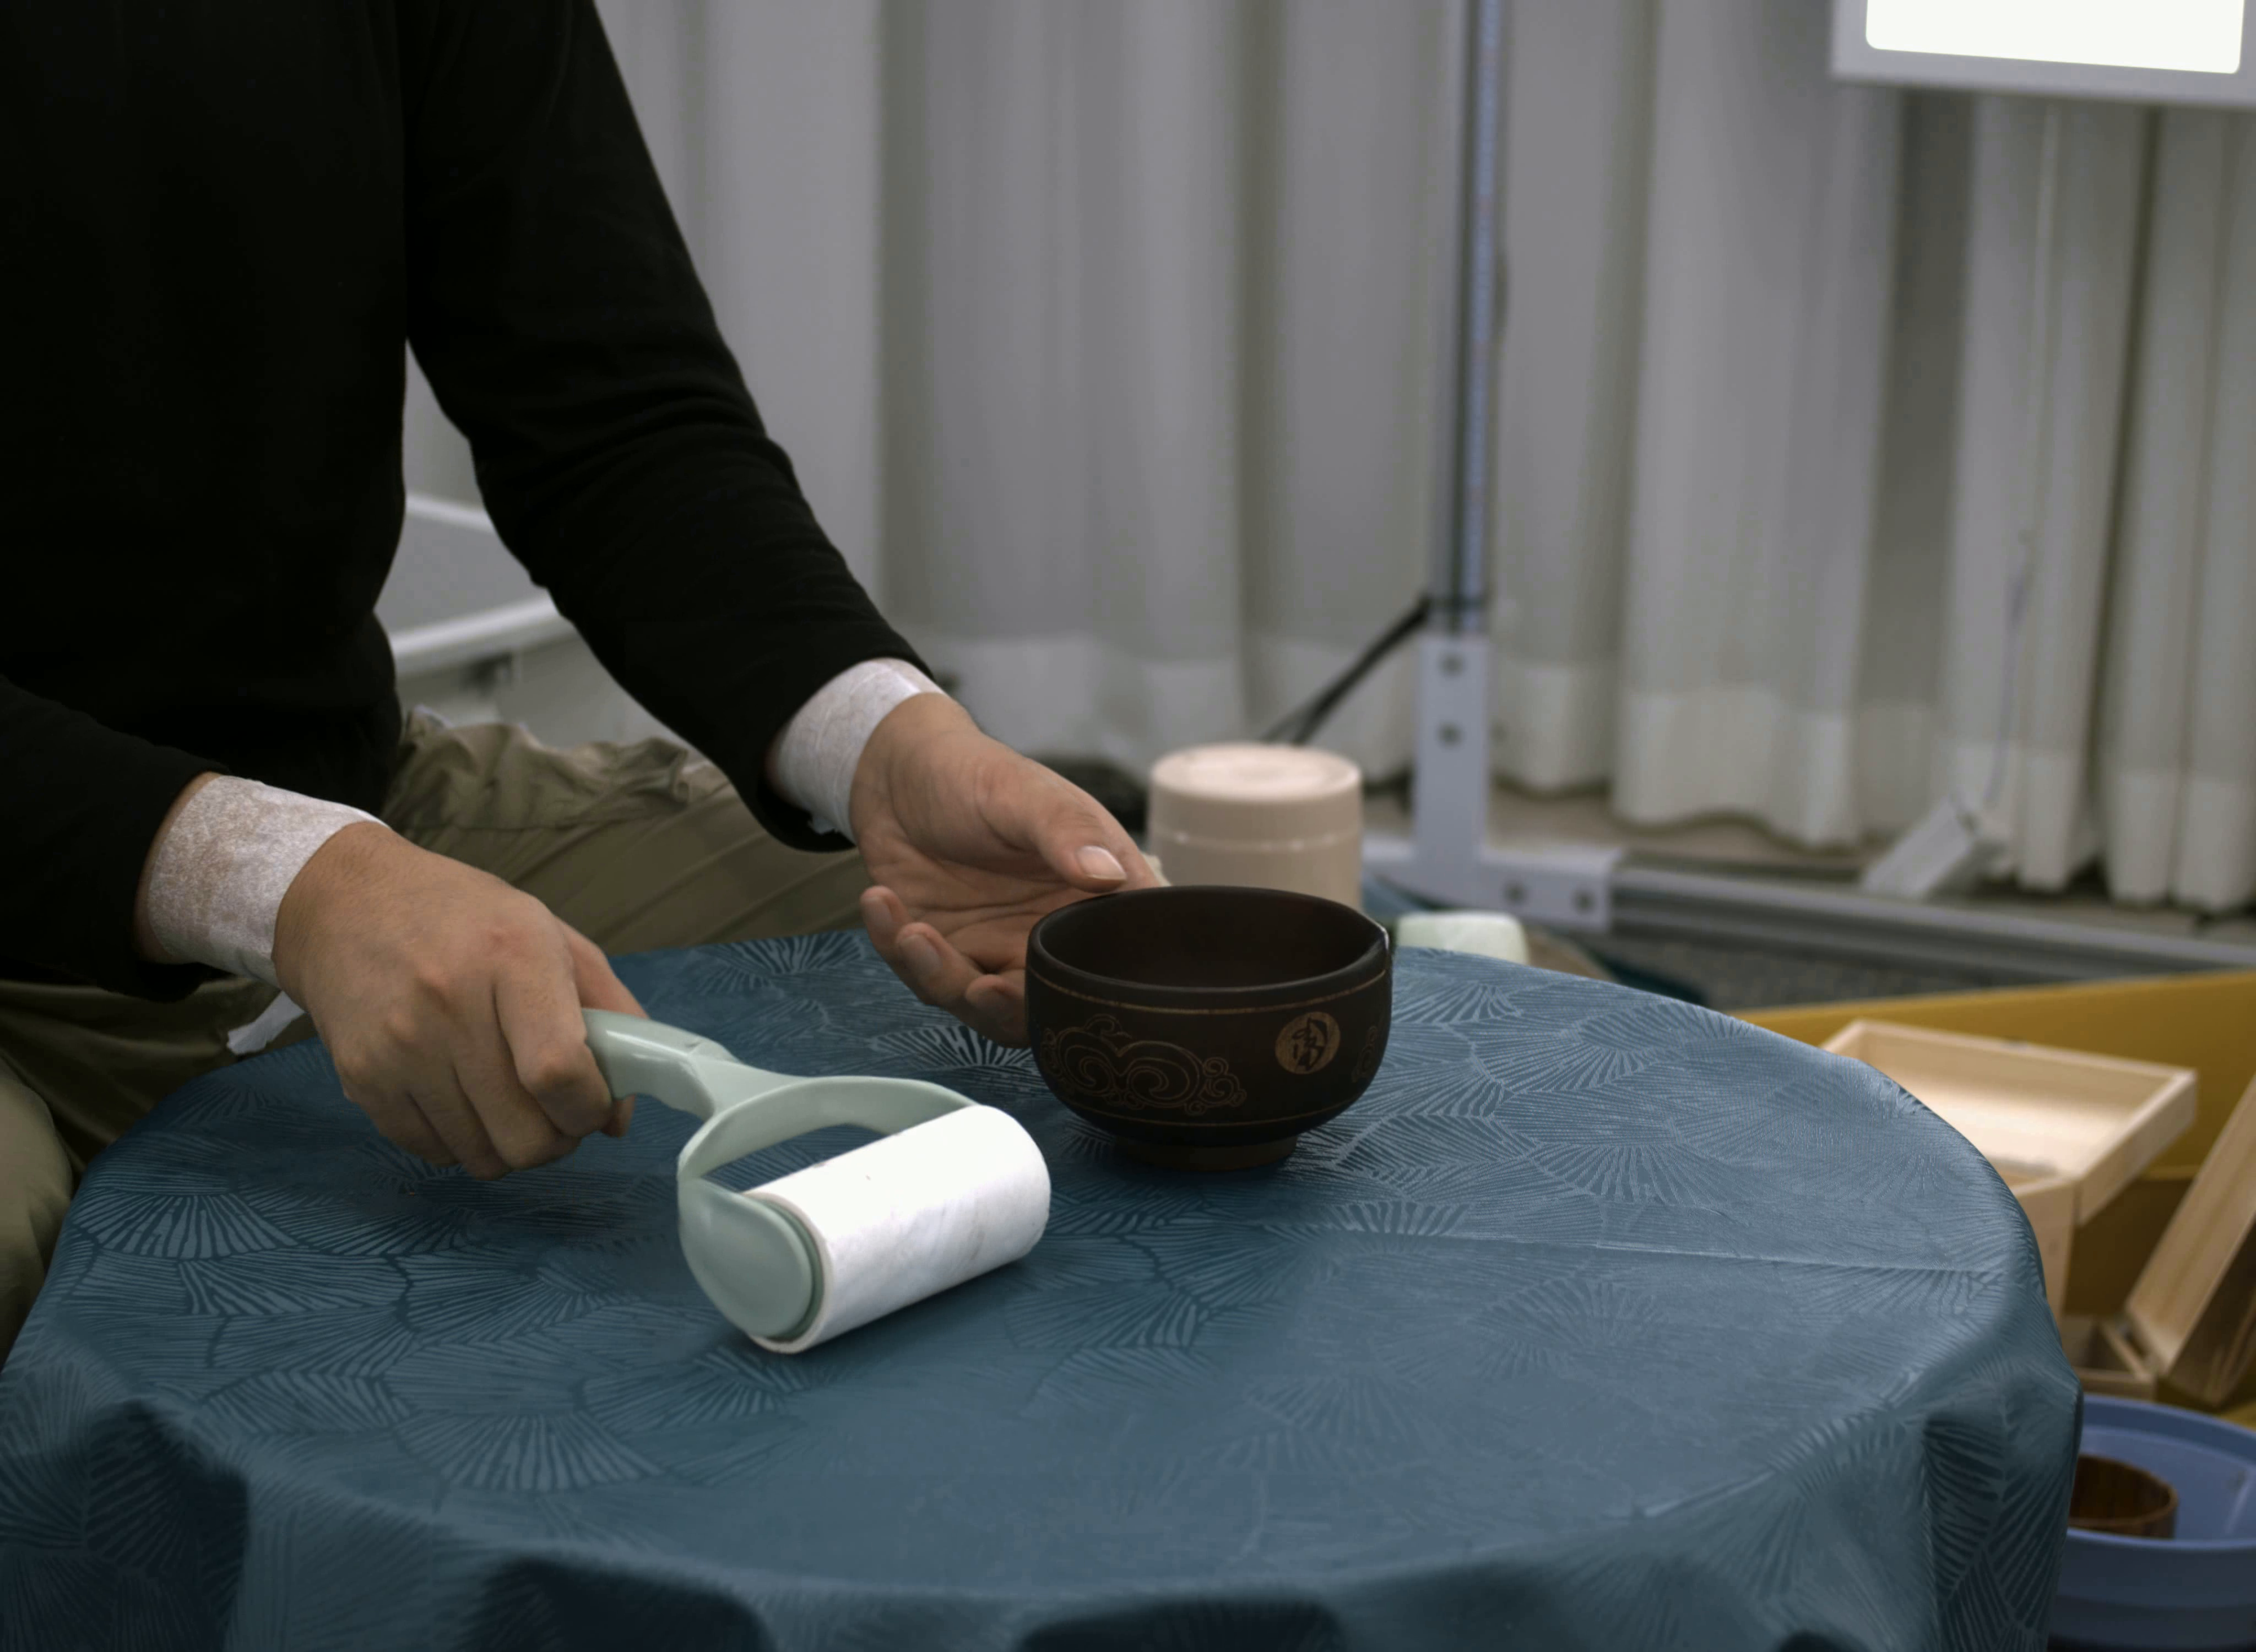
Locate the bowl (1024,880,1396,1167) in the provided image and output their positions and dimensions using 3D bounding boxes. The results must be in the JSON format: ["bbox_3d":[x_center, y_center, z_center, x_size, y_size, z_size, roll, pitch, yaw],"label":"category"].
[{"bbox_3d":[0.026,0.066,1.655,0.117,0.070,0.117,-1,16,1],"label":"bowl"}]

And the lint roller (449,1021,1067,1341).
[{"bbox_3d":[-0.122,0.088,1.558,0.195,0.049,0.117,24,26,31],"label":"lint roller"}]
